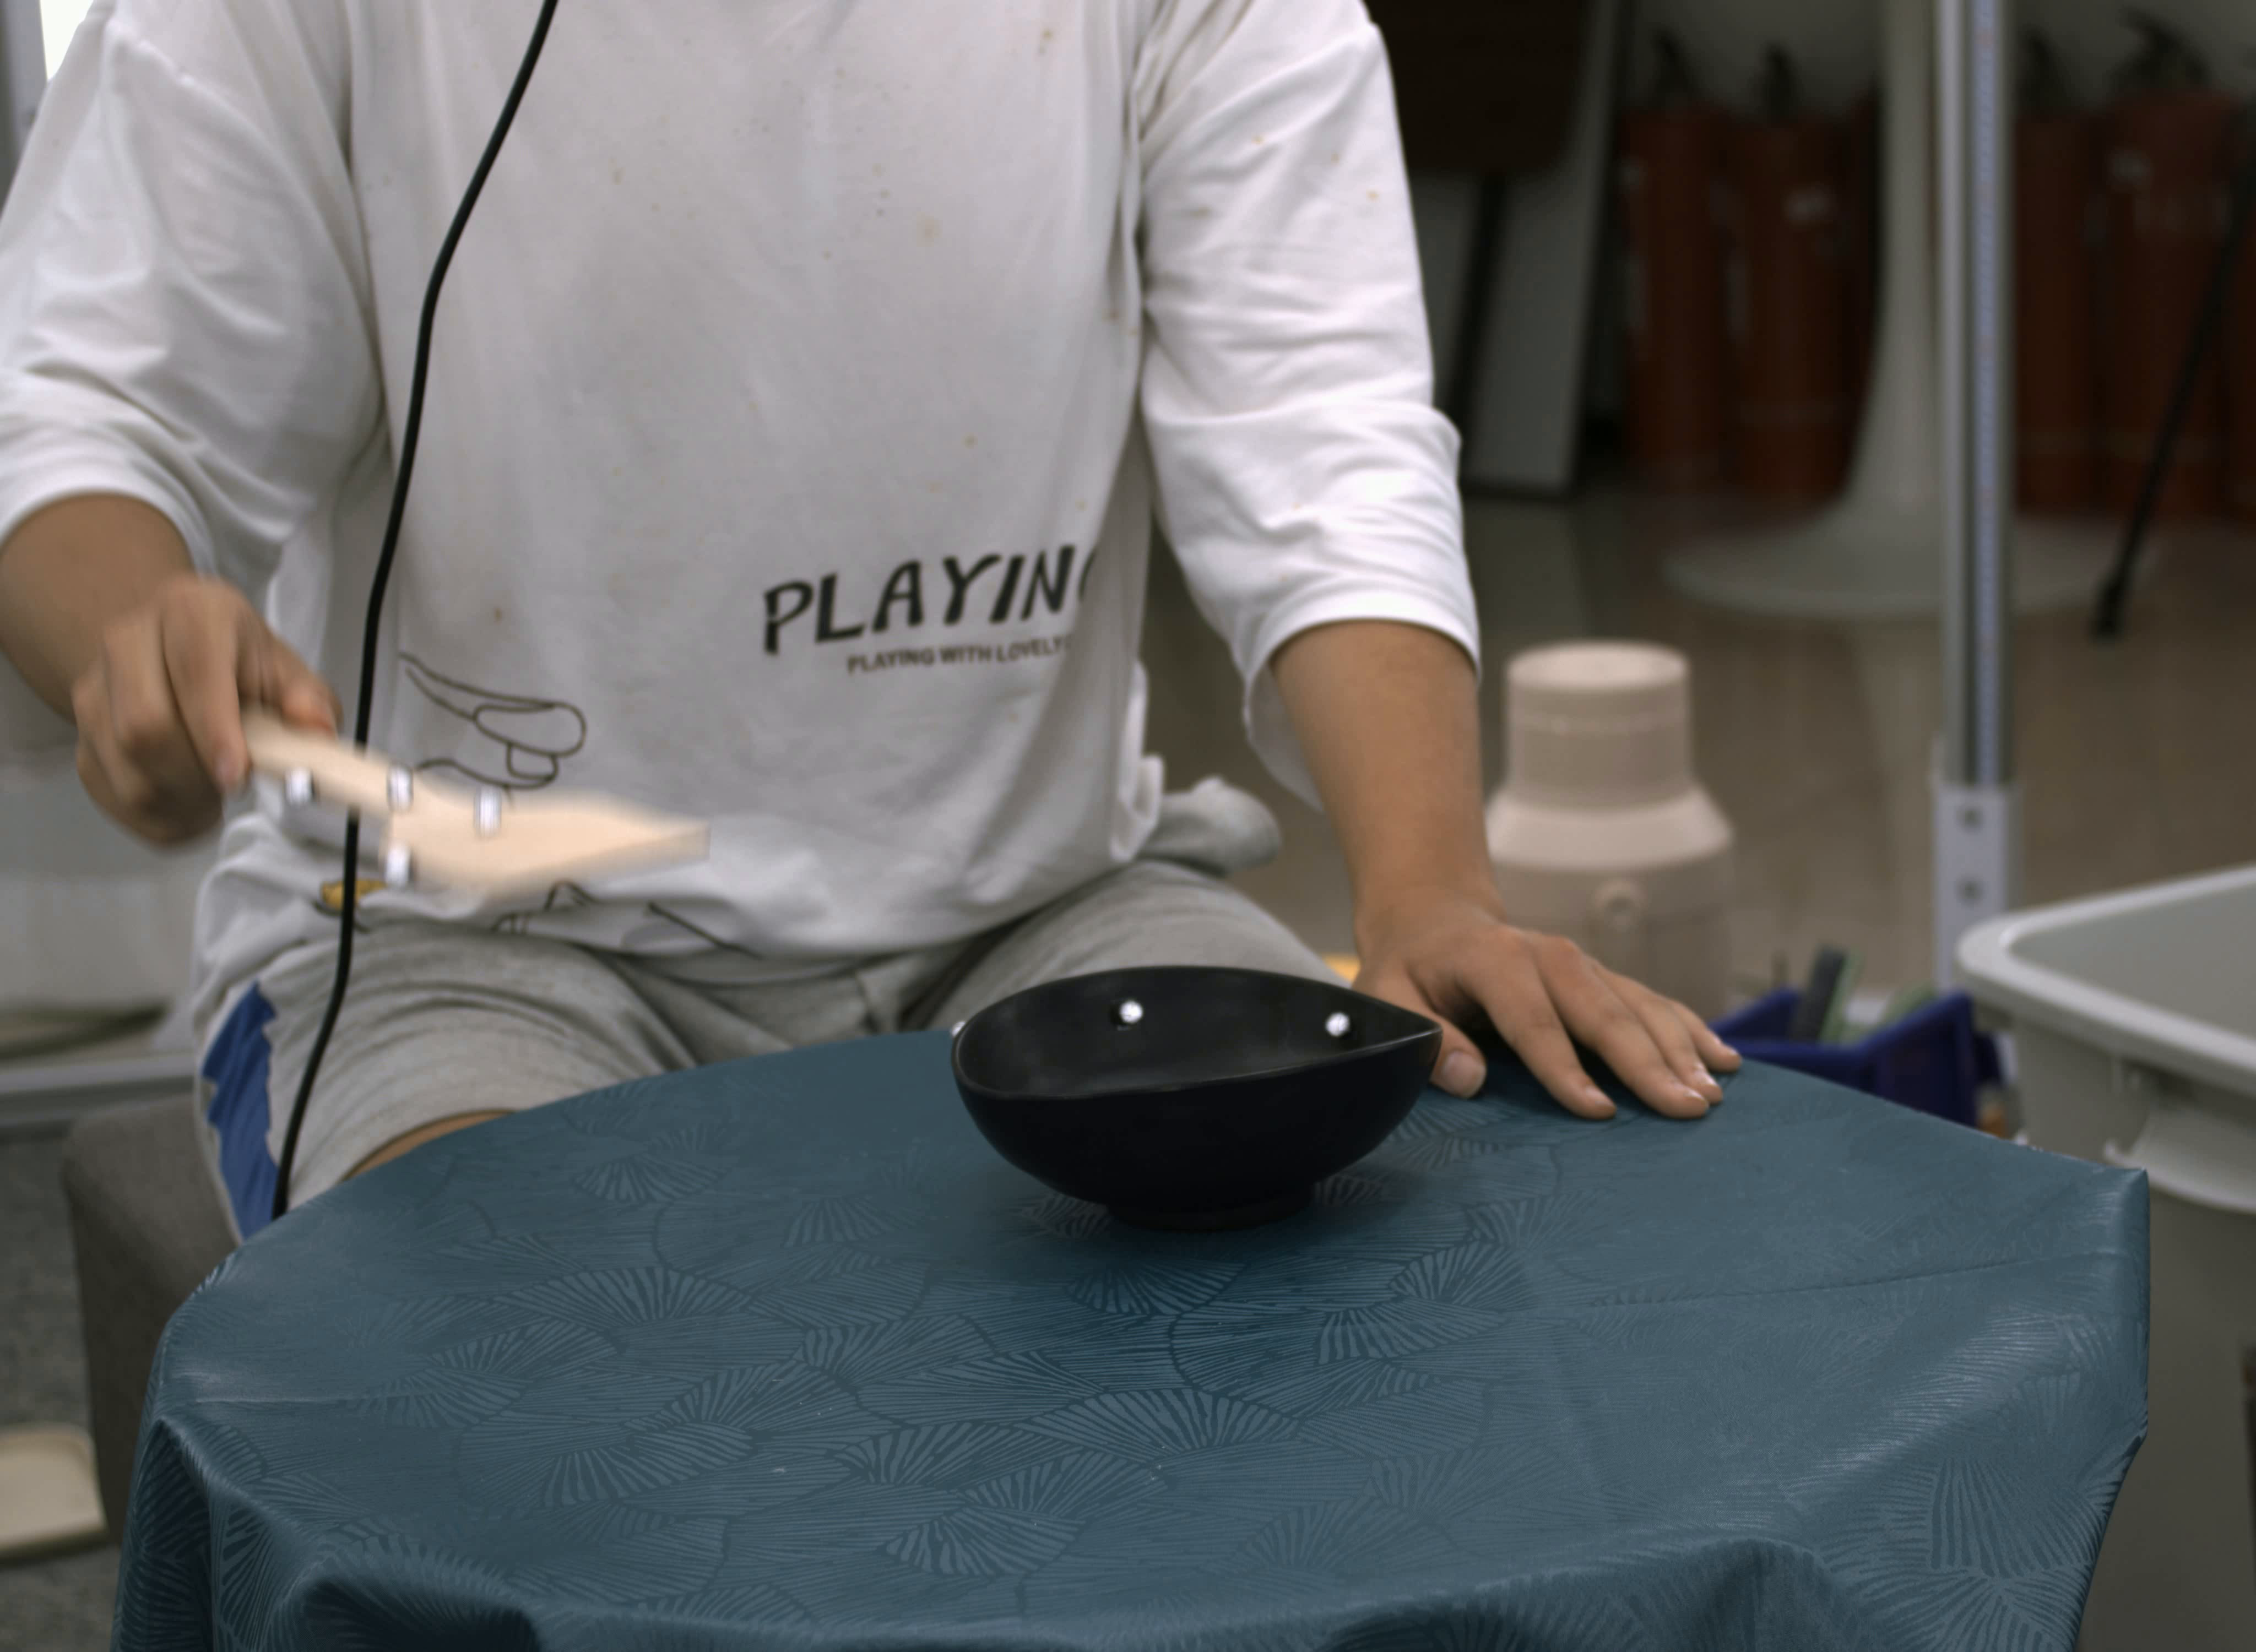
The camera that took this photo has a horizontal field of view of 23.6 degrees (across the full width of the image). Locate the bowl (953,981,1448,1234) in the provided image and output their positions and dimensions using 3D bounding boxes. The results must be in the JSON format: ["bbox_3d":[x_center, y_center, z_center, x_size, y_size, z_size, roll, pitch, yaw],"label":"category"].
[{"bbox_3d":[0.024,0.093,1.751,0.166,0.067,0.139,-9,13,-29],"label":"bowl"}]

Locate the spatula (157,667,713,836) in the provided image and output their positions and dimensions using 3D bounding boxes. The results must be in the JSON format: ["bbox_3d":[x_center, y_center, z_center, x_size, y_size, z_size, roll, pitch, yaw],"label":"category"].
[{"bbox_3d":[-0.225,-0.024,1.640,0.071,0.011,0.296,-14,16,-31],"label":"spatula"}]
